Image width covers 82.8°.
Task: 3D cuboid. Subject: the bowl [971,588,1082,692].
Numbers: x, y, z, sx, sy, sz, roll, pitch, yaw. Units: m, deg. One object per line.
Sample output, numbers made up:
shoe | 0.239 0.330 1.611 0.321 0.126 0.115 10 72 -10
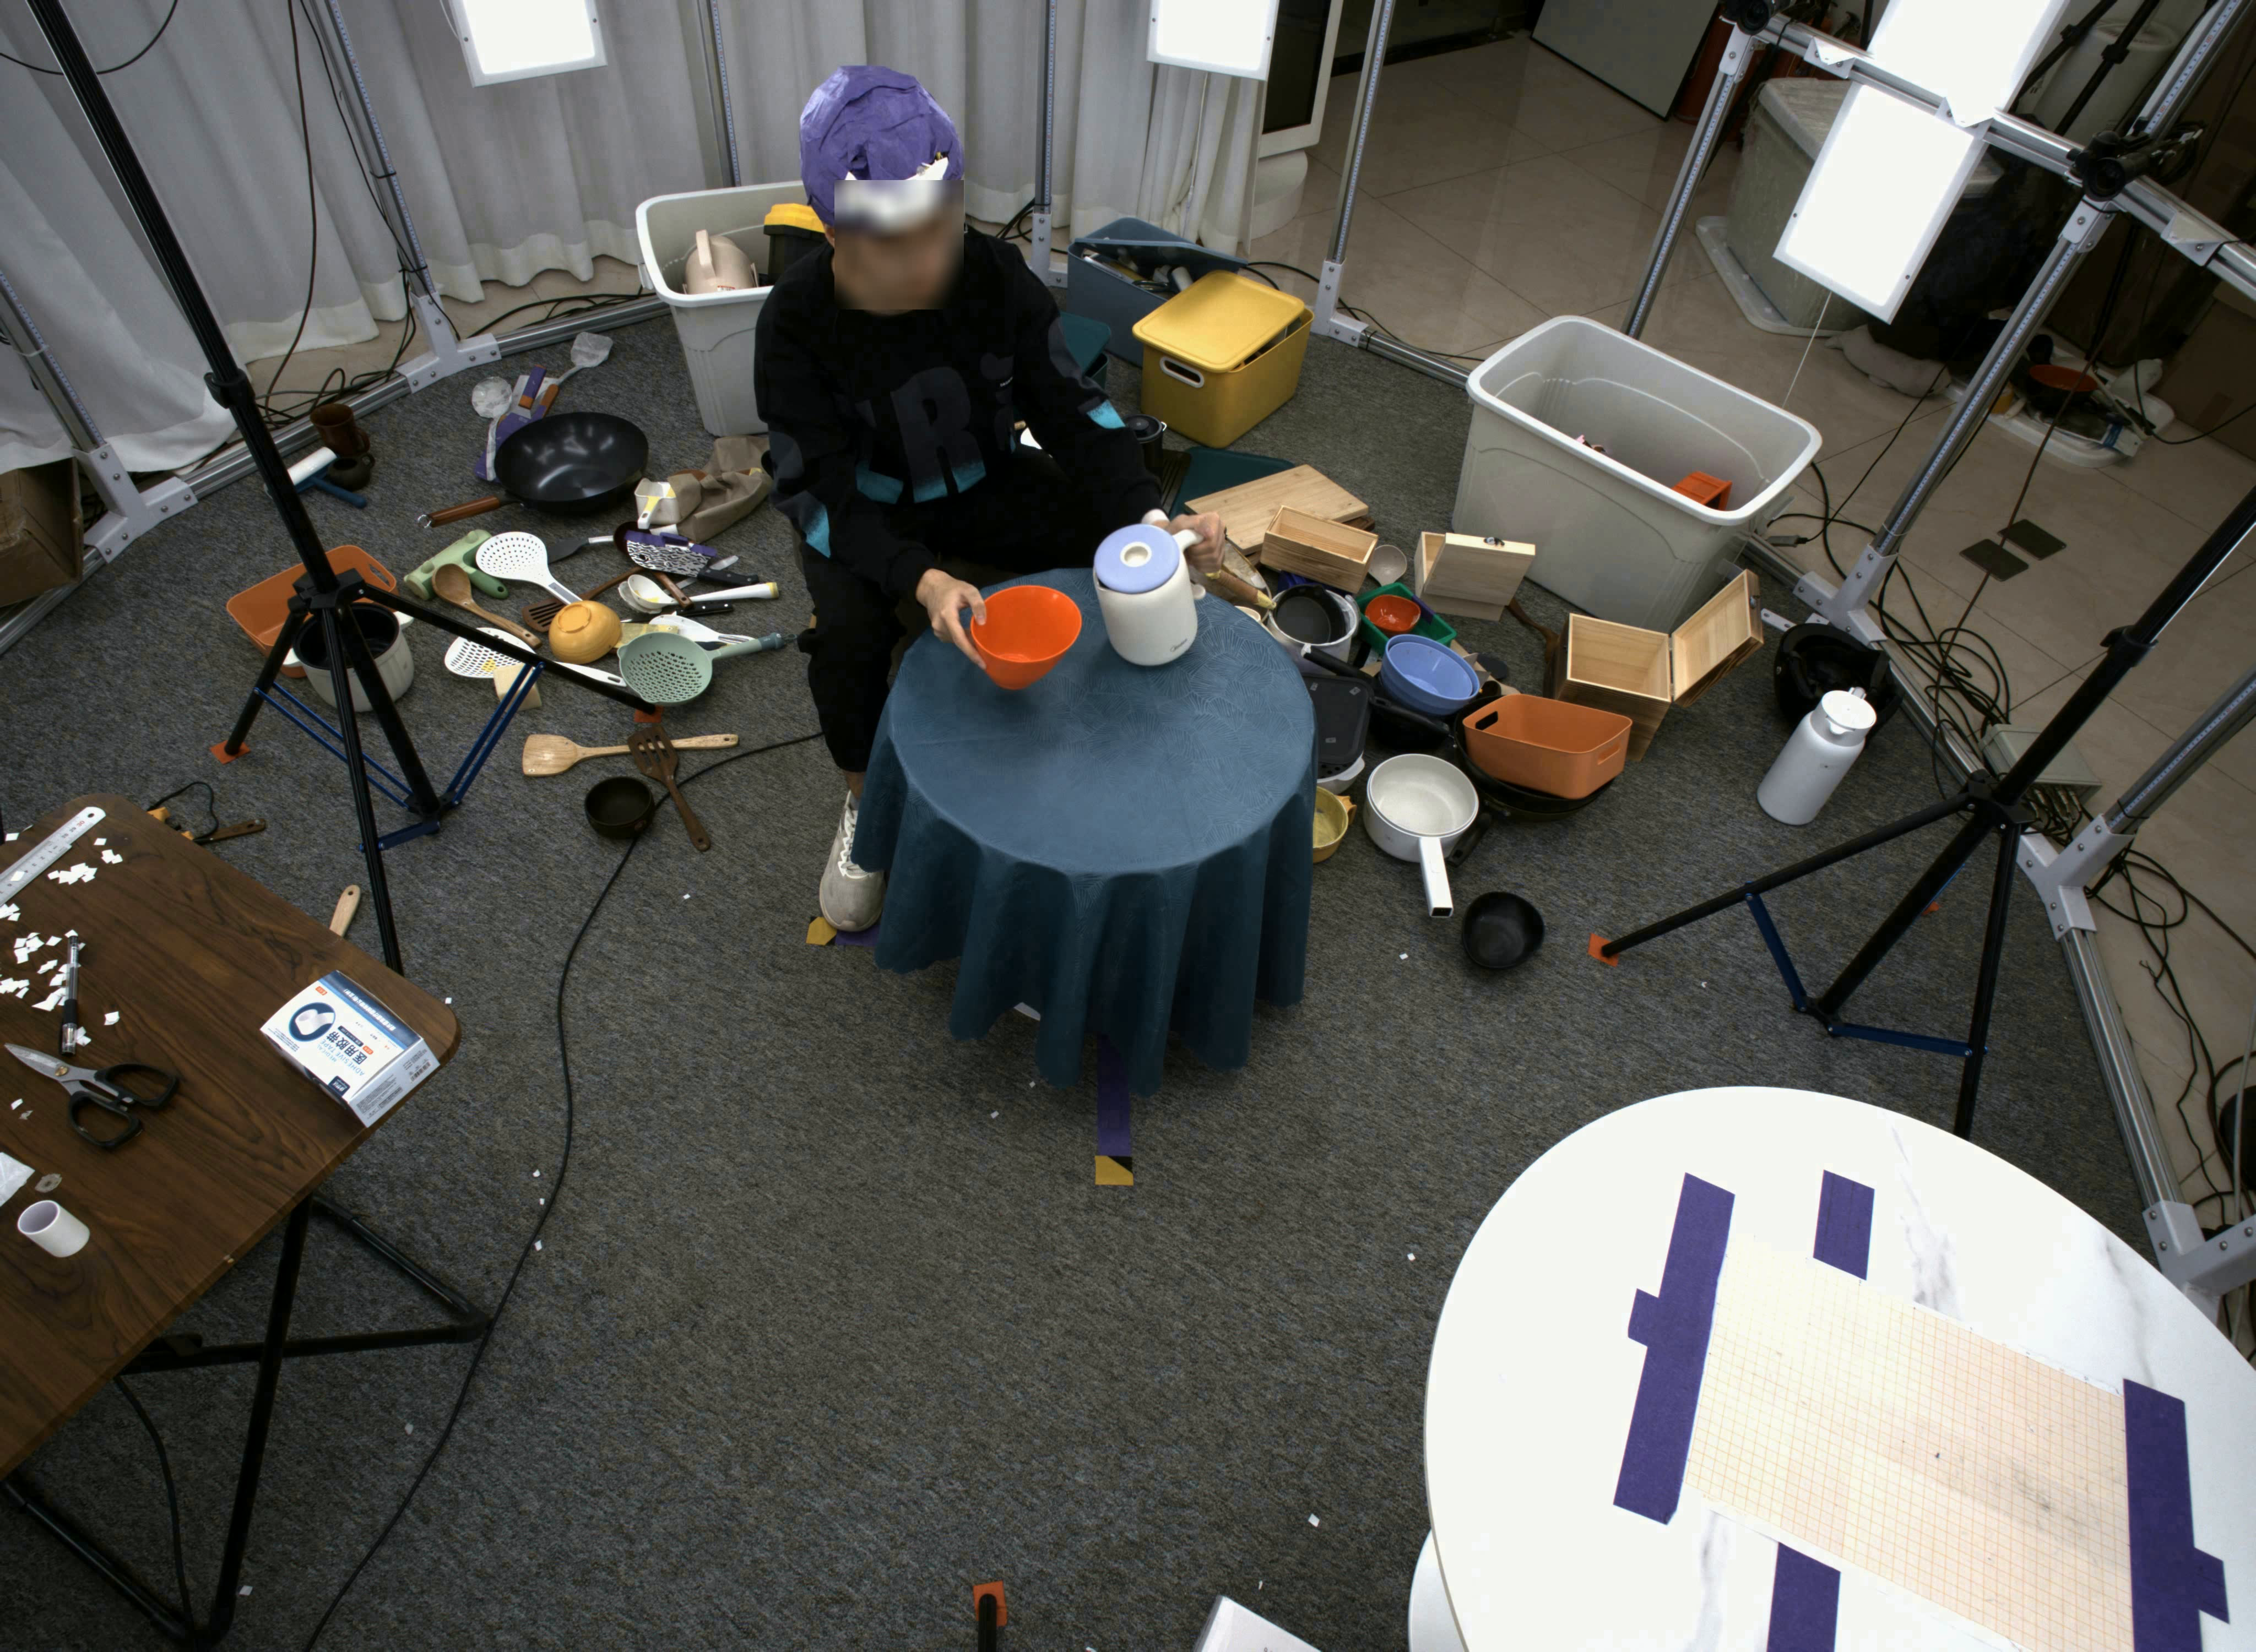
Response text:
bowl | -0.142 -0.244 1.758 0.147 0.102 0.152 6 48 -7

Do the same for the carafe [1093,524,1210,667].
carafe | 0.042 -0.339 1.823 0.192 0.178 0.134 -37 62 -15
